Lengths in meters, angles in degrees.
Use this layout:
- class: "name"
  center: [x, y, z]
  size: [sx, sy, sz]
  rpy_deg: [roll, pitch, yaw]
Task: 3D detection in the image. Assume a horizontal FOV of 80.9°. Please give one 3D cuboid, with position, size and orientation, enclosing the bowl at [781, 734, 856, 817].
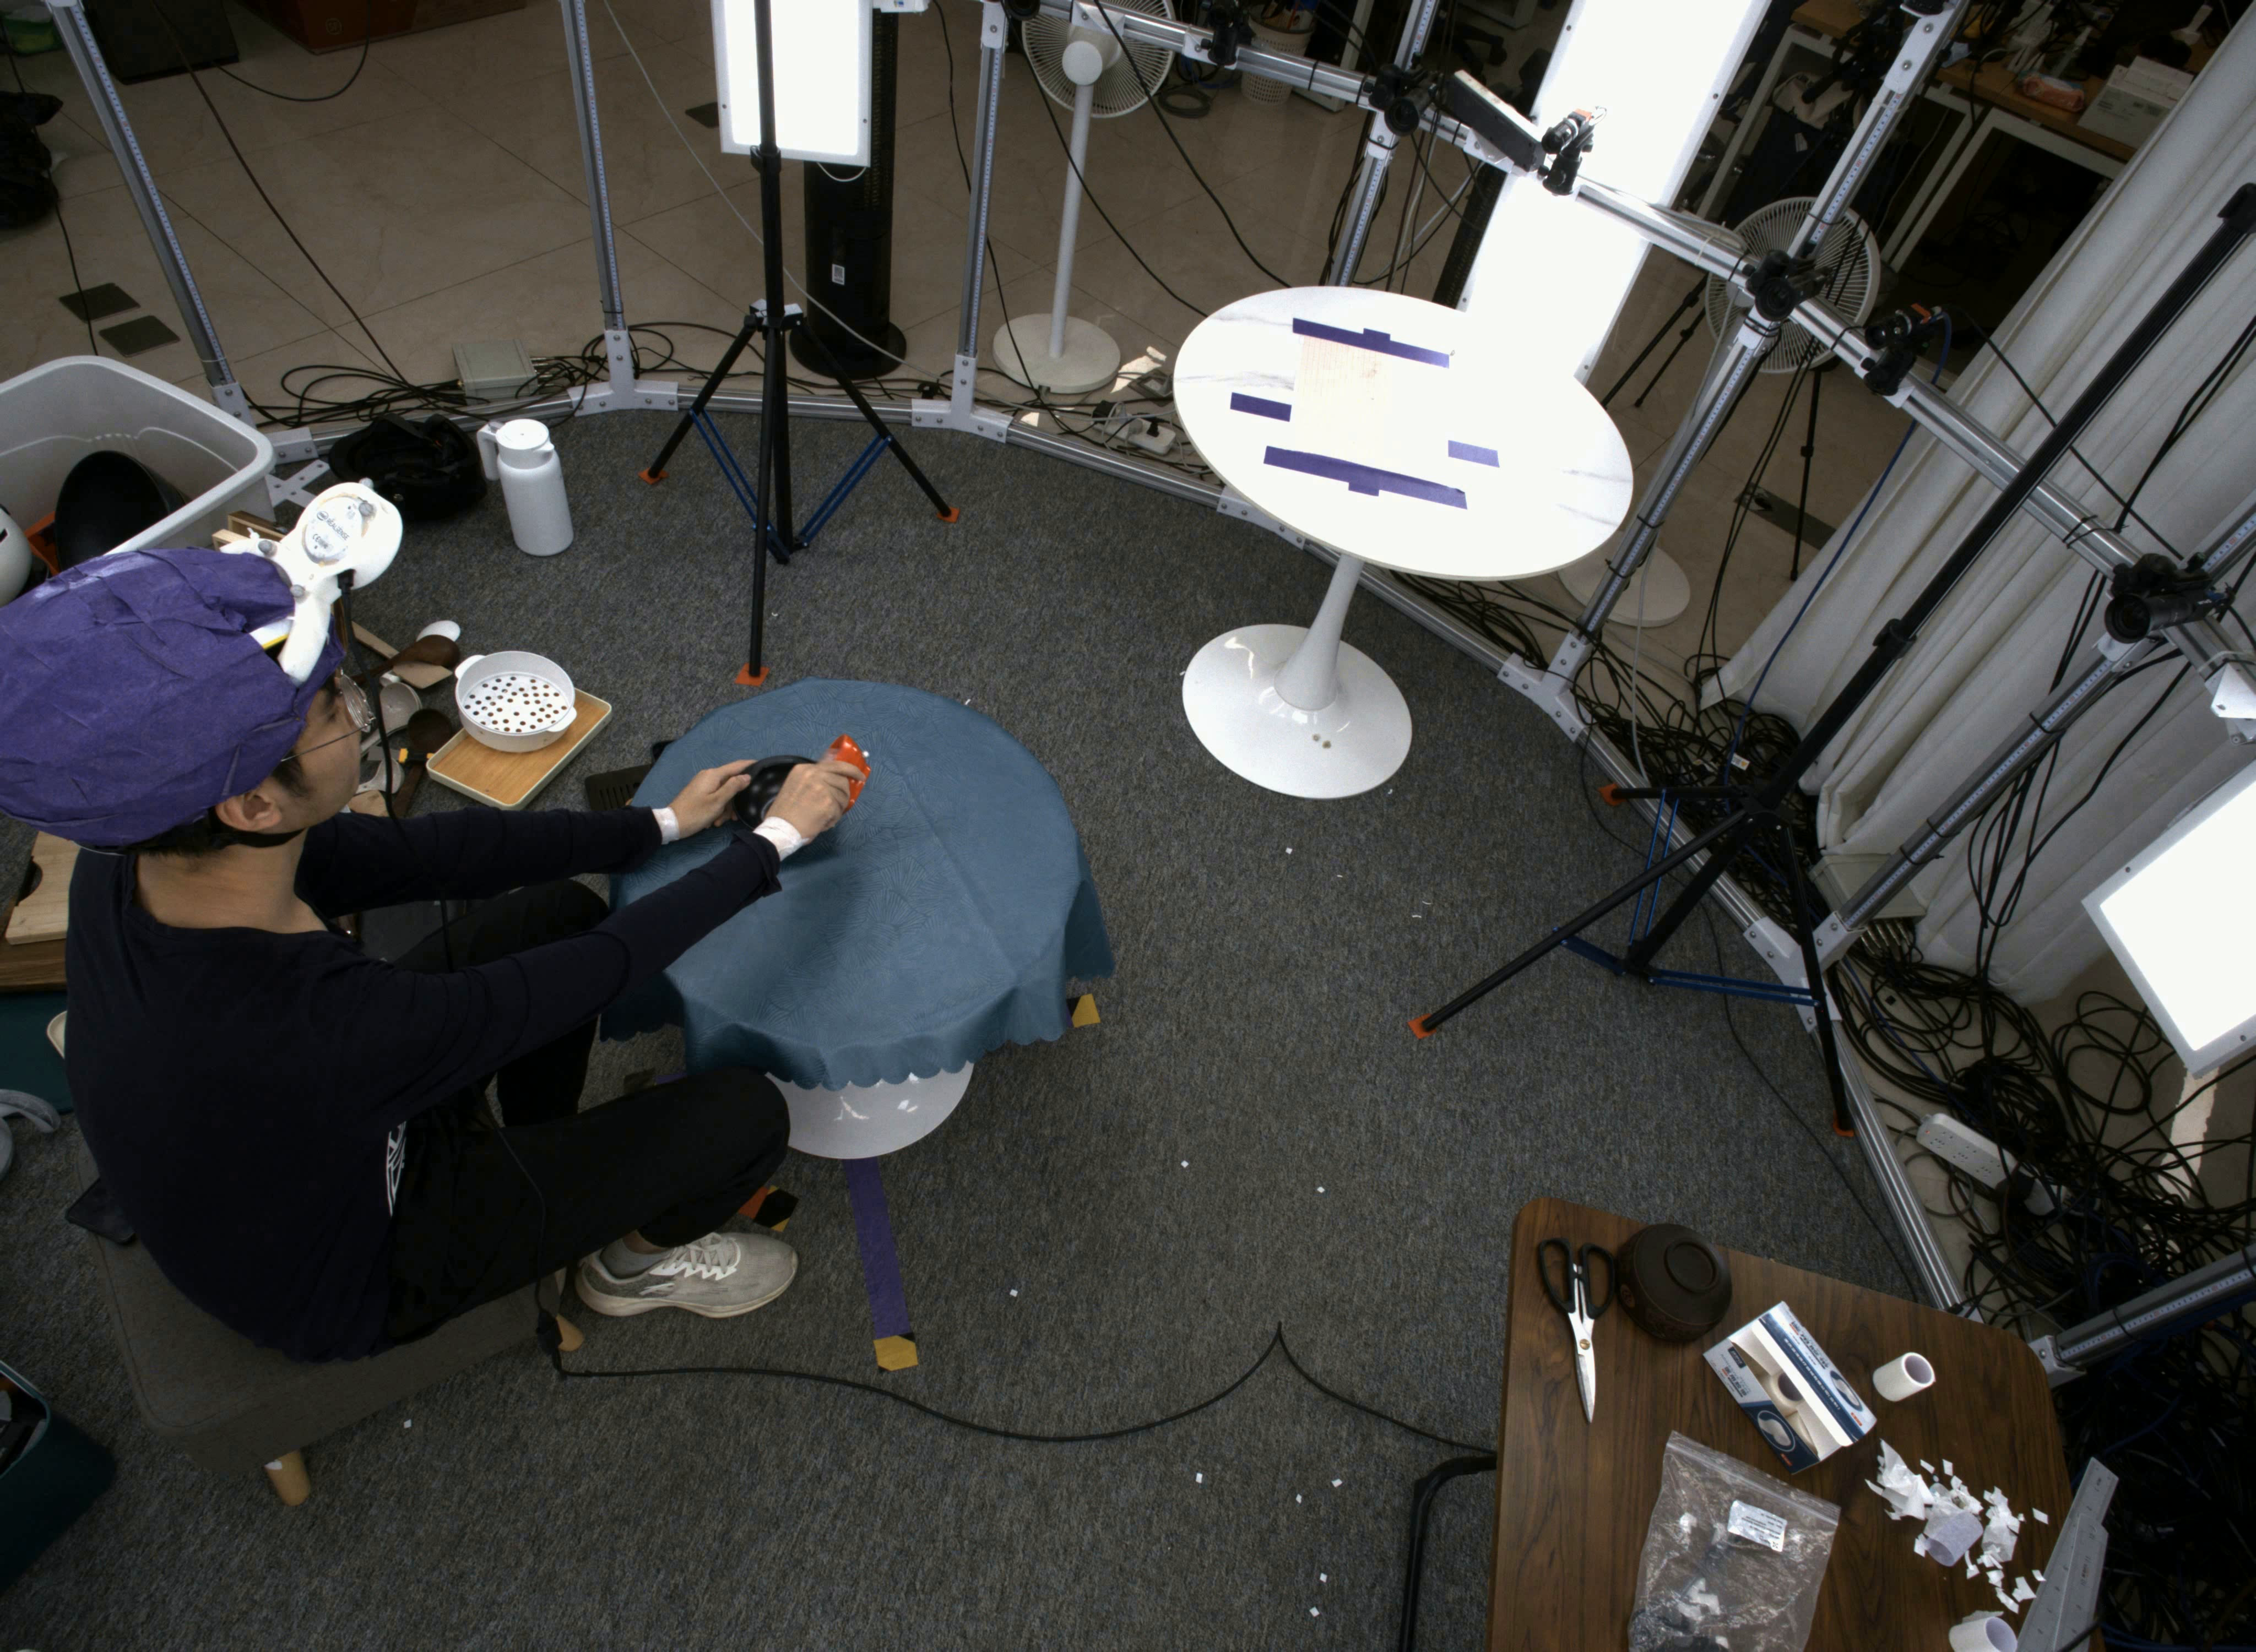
- class: "bowl"
  center: [-0.385, -0.054, 1.632]
  size: [0.052, 0.118, 0.117]
  rpy_deg: [33, 47, -23]

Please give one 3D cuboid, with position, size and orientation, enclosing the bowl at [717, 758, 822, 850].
- class: "bowl"
  center: [-0.469, -0.022, 1.711]
  size: [0.139, 0.051, 0.138]
  rpy_deg: [6, 56, -6]
